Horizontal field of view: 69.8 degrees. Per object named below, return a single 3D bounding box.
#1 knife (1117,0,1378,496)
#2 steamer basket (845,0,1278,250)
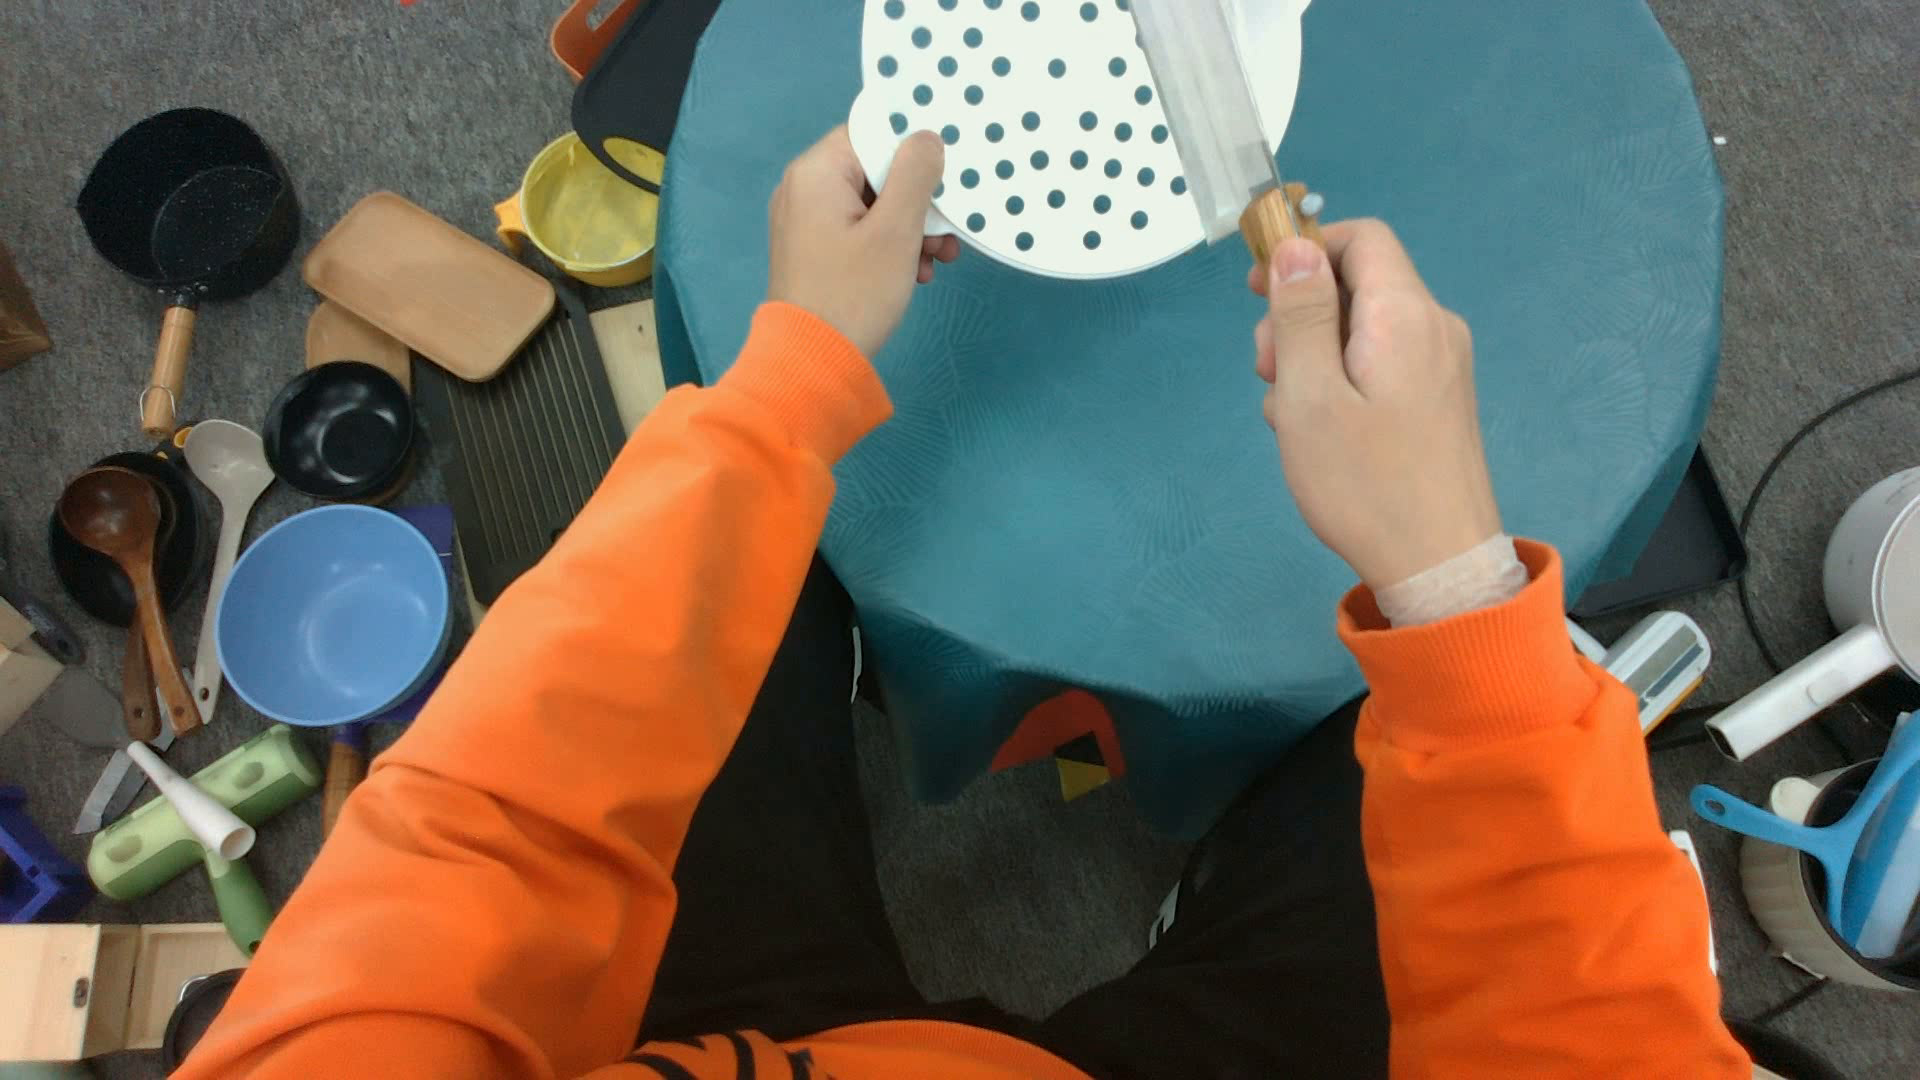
[{"bbox_3d":[0.093,-0.162,0.534,0.021,0.093,0.305,-20,94,-6],"label":"knife"},{"bbox_3d":[0.046,-0.239,0.654,0.231,0.069,0.201,-35,106,-7],"label":"steamer basket"}]
